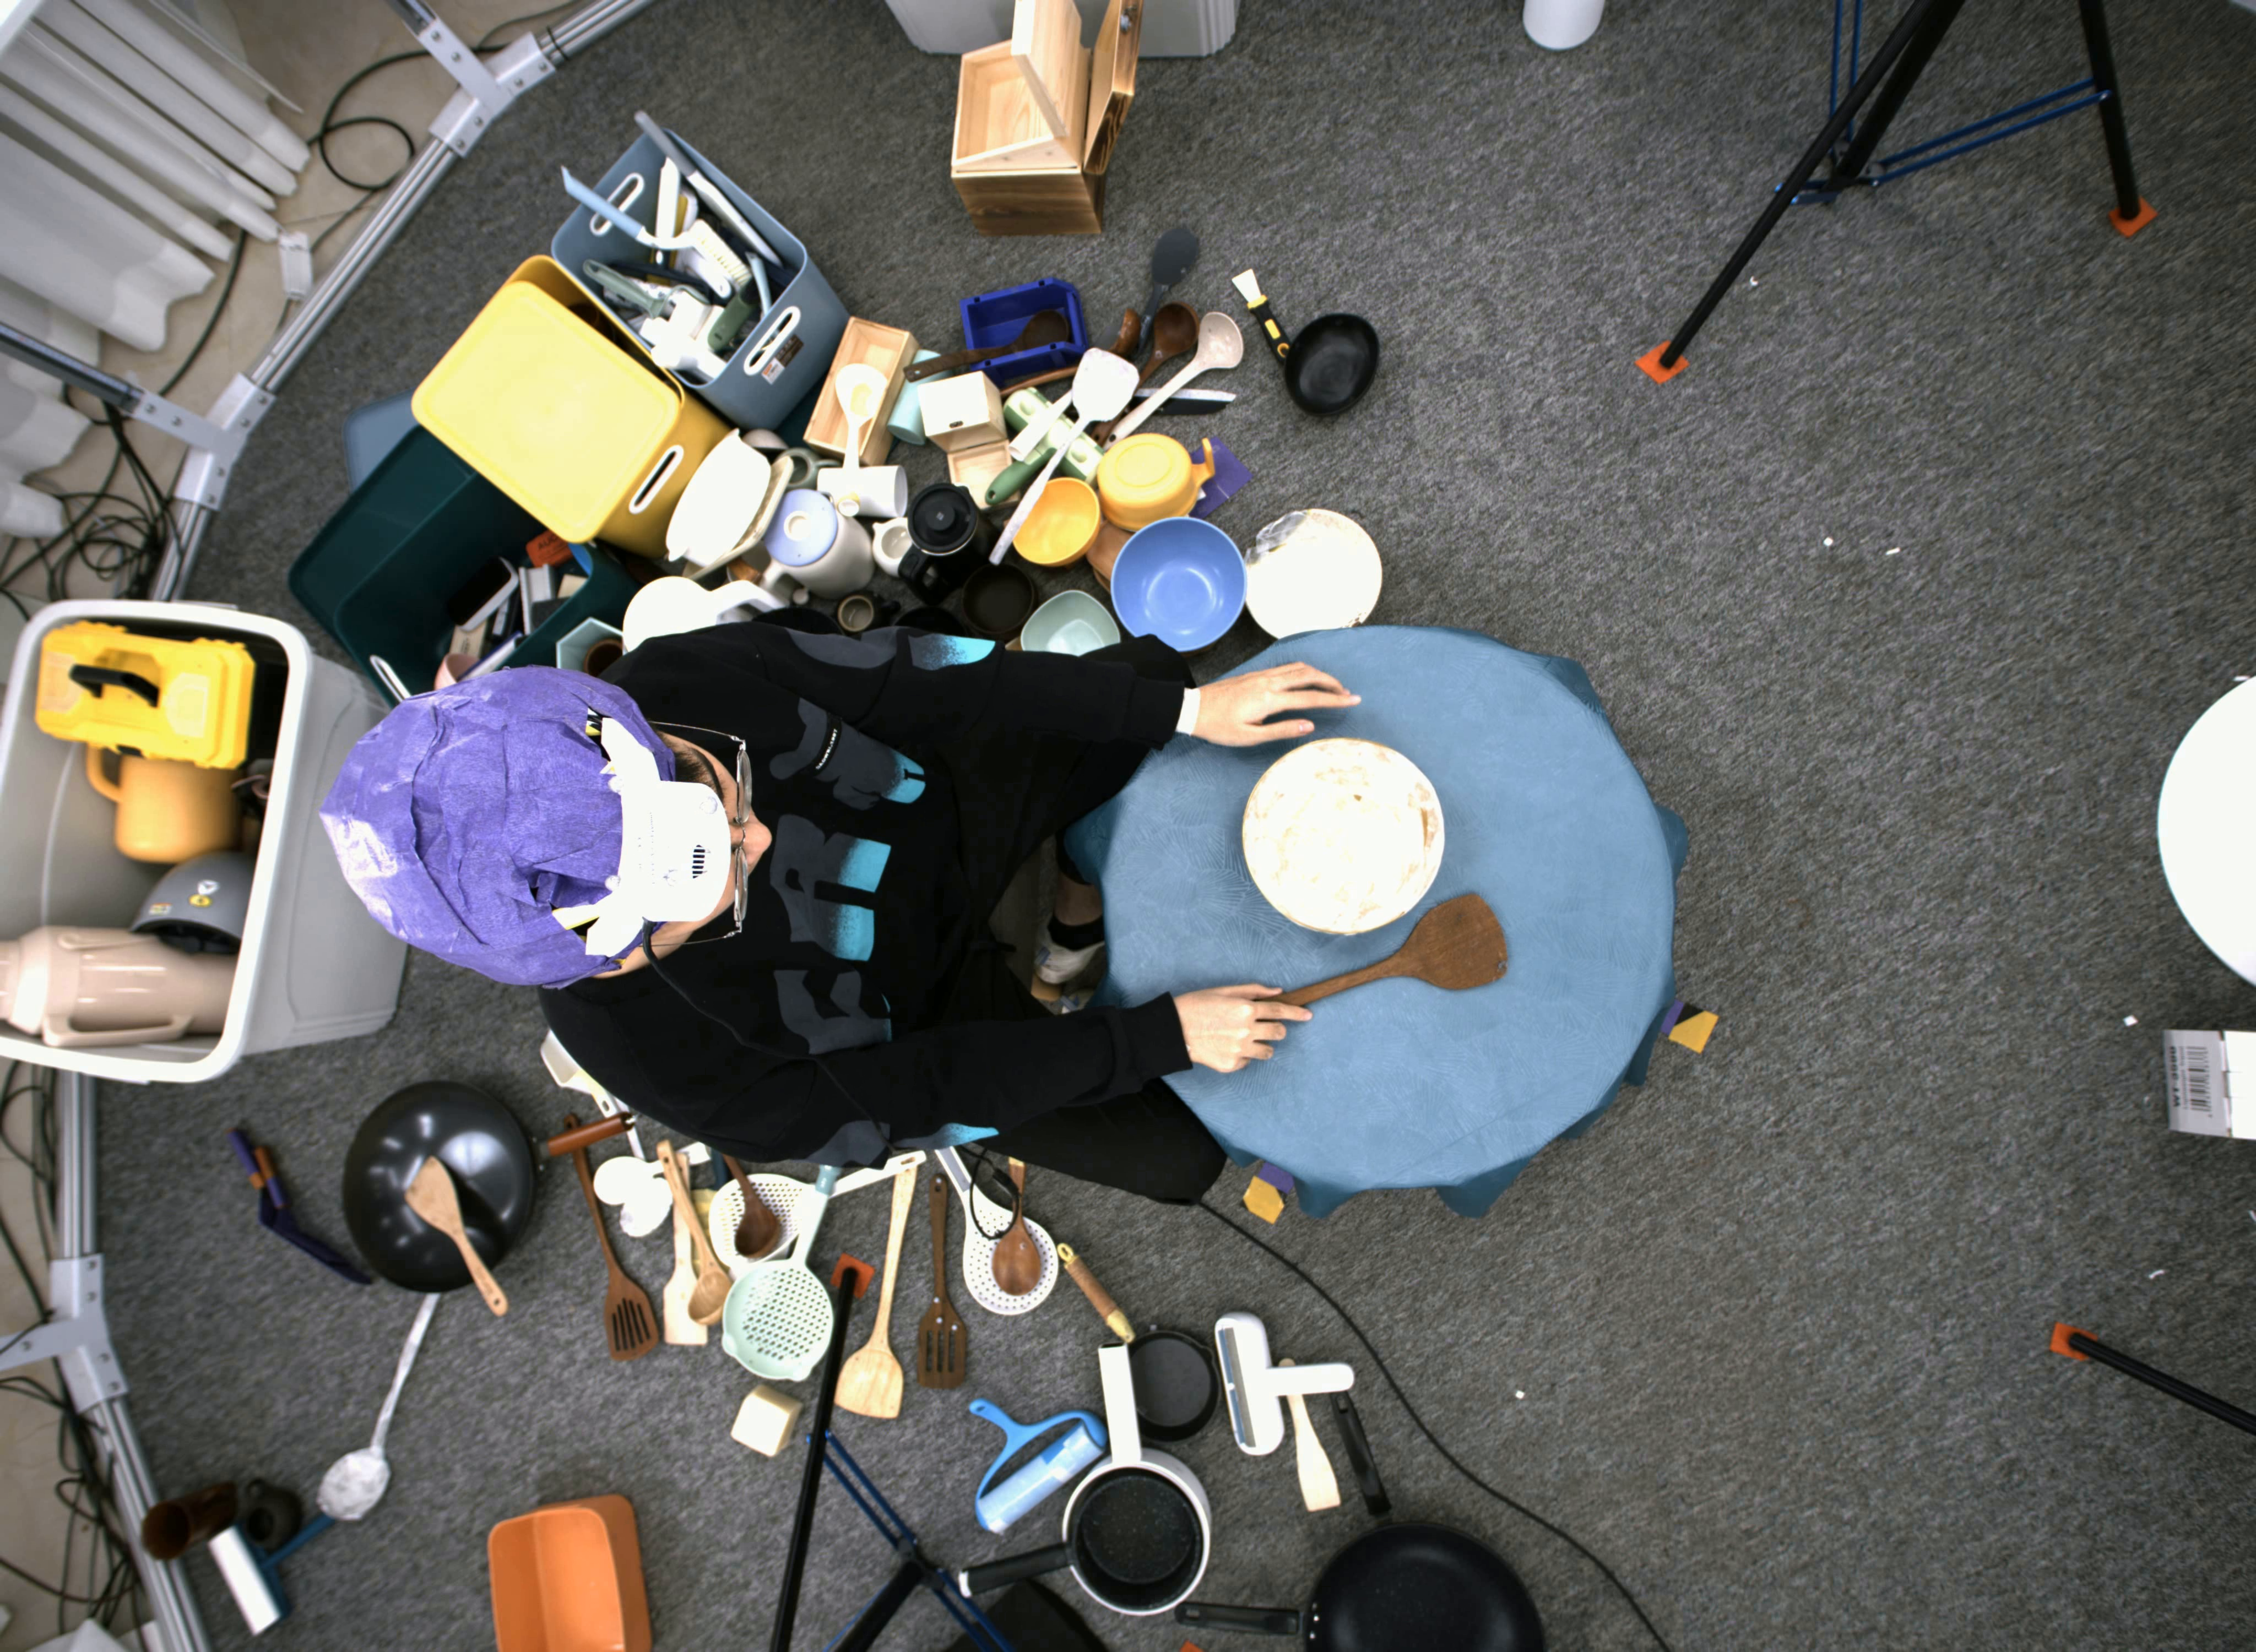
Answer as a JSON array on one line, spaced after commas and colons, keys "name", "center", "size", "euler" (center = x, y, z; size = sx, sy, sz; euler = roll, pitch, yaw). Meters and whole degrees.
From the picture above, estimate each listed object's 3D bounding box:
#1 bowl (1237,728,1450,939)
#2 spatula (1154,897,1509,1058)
[{"name": "bowl", "center": [0.223, 0.012, 1.430], "size": [0.215, 0.094, 0.214], "euler": [-1, 87, 10]}, {"name": "spatula", "center": [0.210, 0.174, 1.457], "size": [0.387, 0.016, 0.095], "euler": [-19, 82, 6]}]
